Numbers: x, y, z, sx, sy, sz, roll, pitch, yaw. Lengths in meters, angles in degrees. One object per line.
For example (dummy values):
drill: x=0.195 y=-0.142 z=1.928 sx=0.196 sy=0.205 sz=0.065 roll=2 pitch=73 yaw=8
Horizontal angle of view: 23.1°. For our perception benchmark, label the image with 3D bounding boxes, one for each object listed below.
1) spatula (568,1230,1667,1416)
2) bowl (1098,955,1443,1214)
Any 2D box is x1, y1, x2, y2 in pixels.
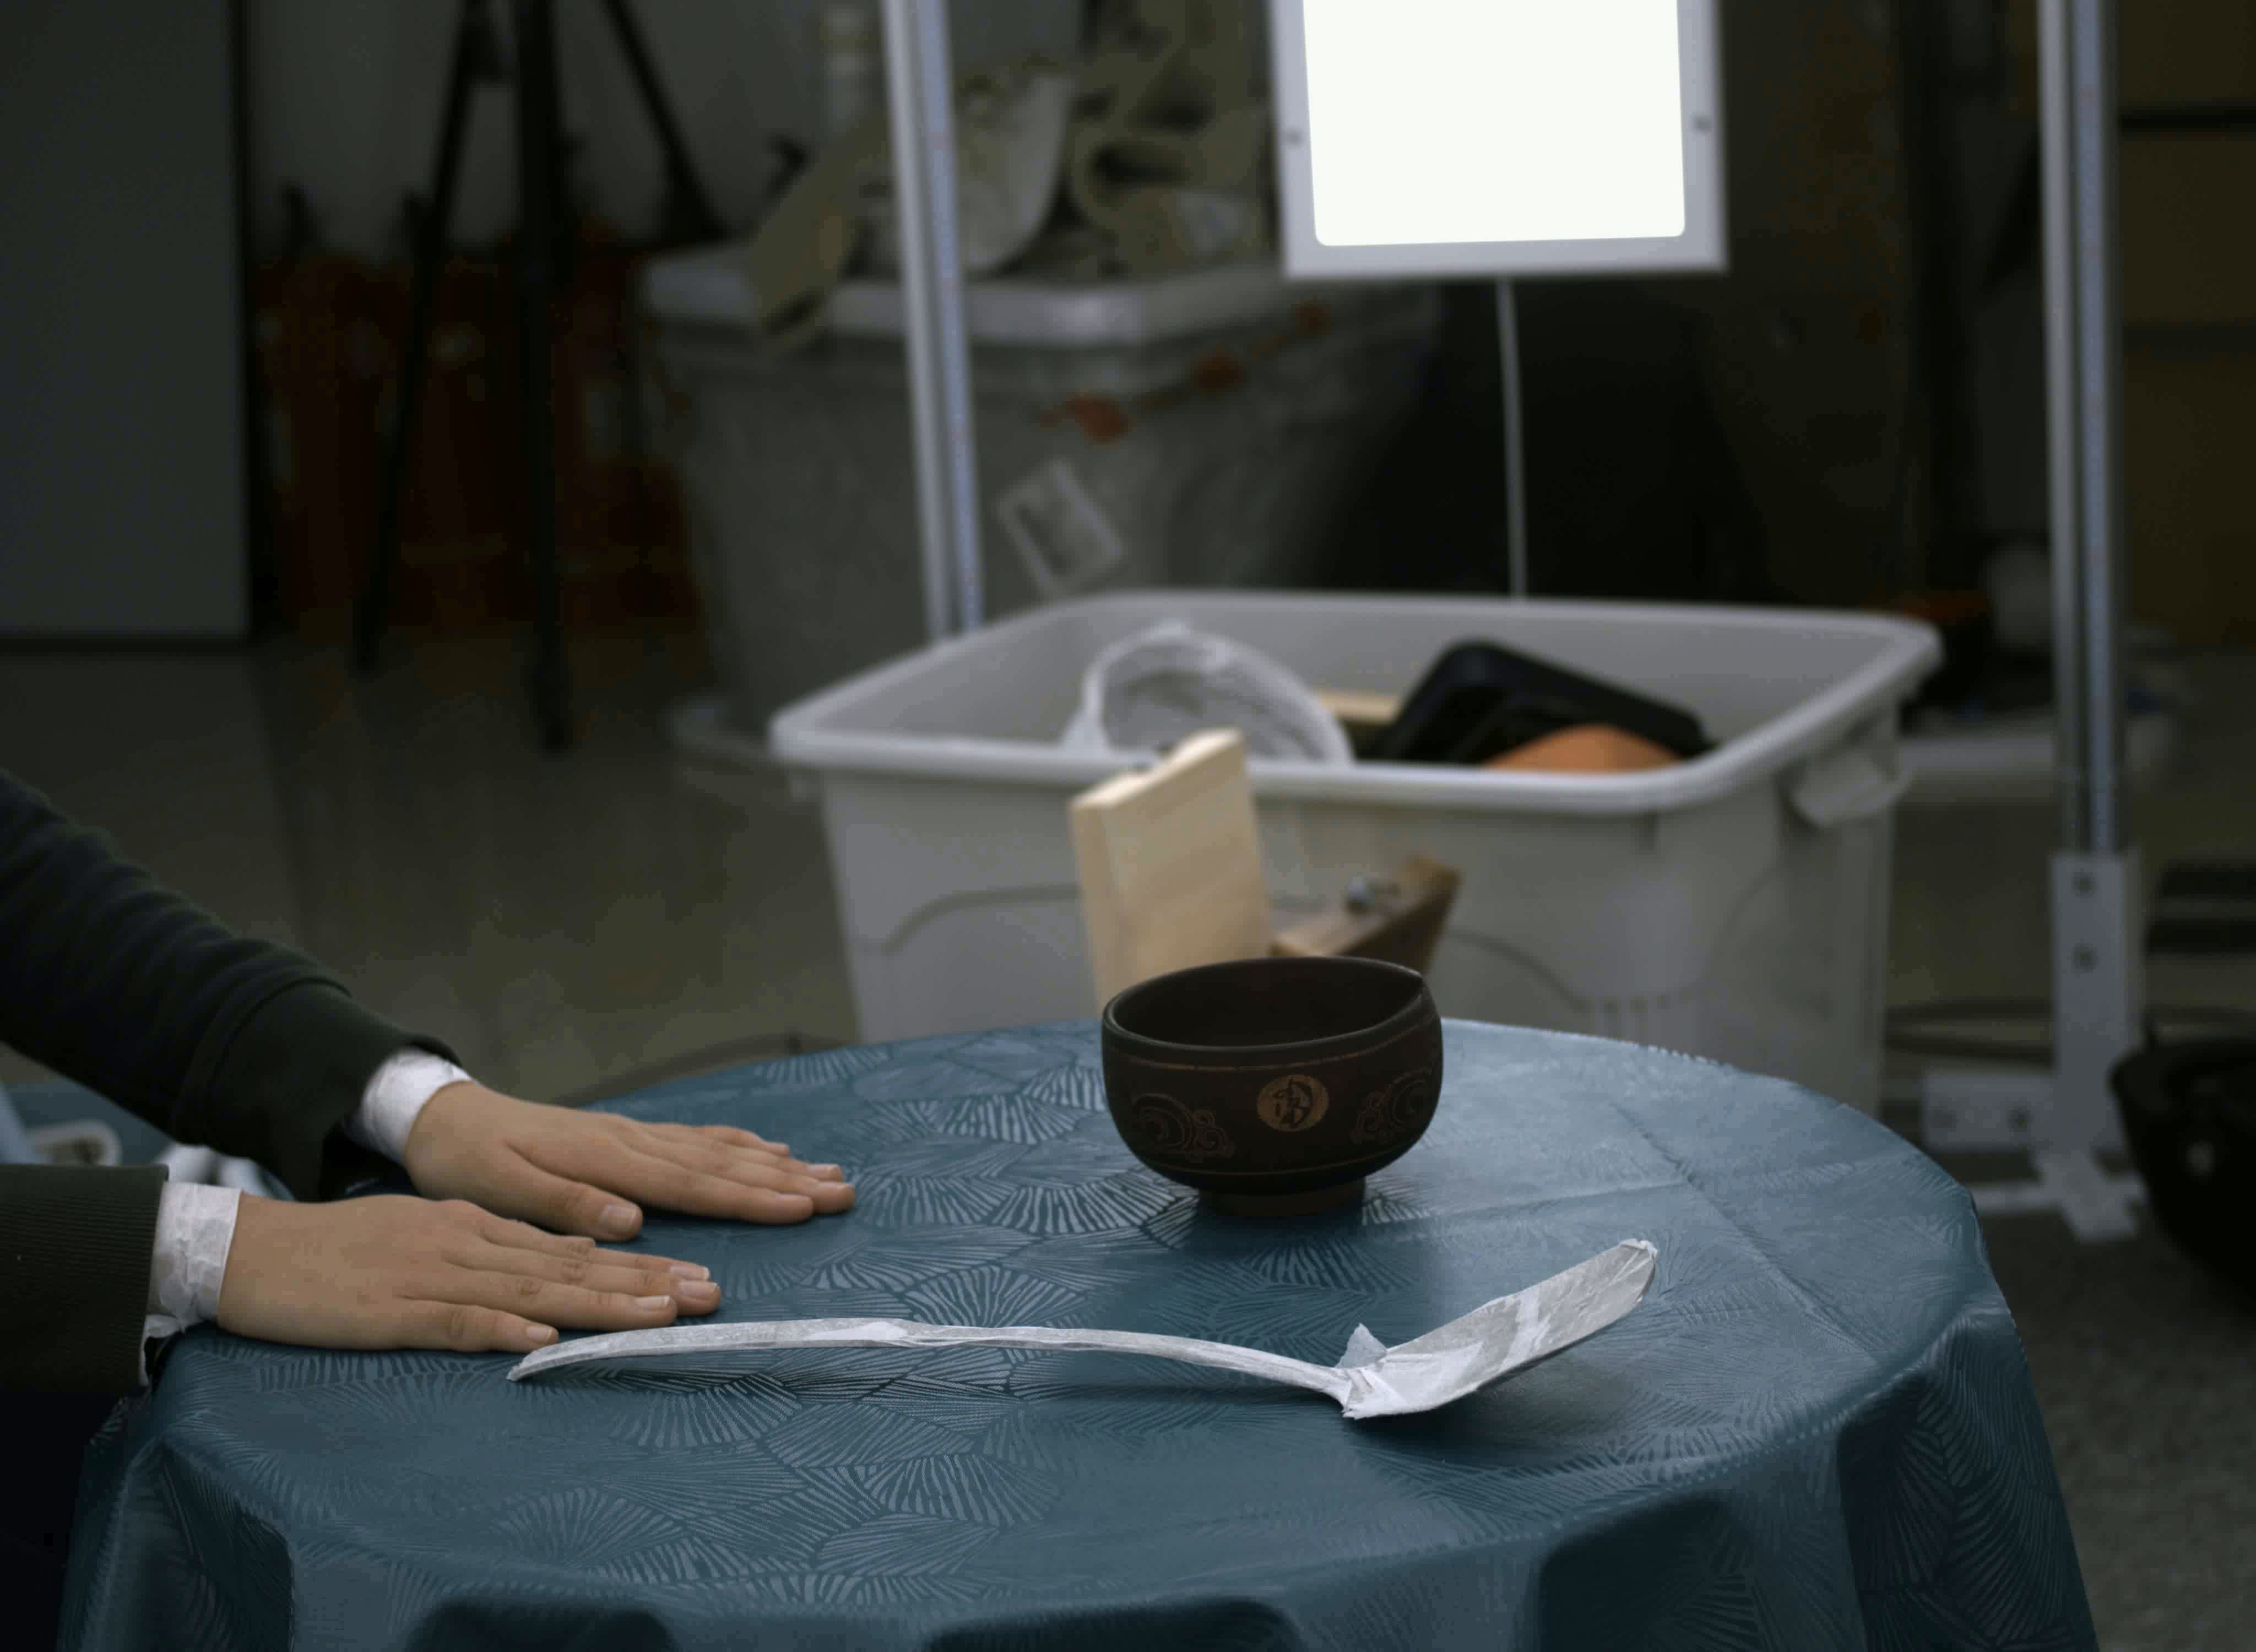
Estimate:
spatula: x=-0.013 y=0.154 z=1.707 sx=0.369 sy=0.045 sz=0.097 roll=0 pitch=17 yaw=20
bowl: x=0.050 y=0.091 z=1.874 sx=0.118 sy=0.070 sz=0.118 roll=-5 pitch=12 yaw=0
